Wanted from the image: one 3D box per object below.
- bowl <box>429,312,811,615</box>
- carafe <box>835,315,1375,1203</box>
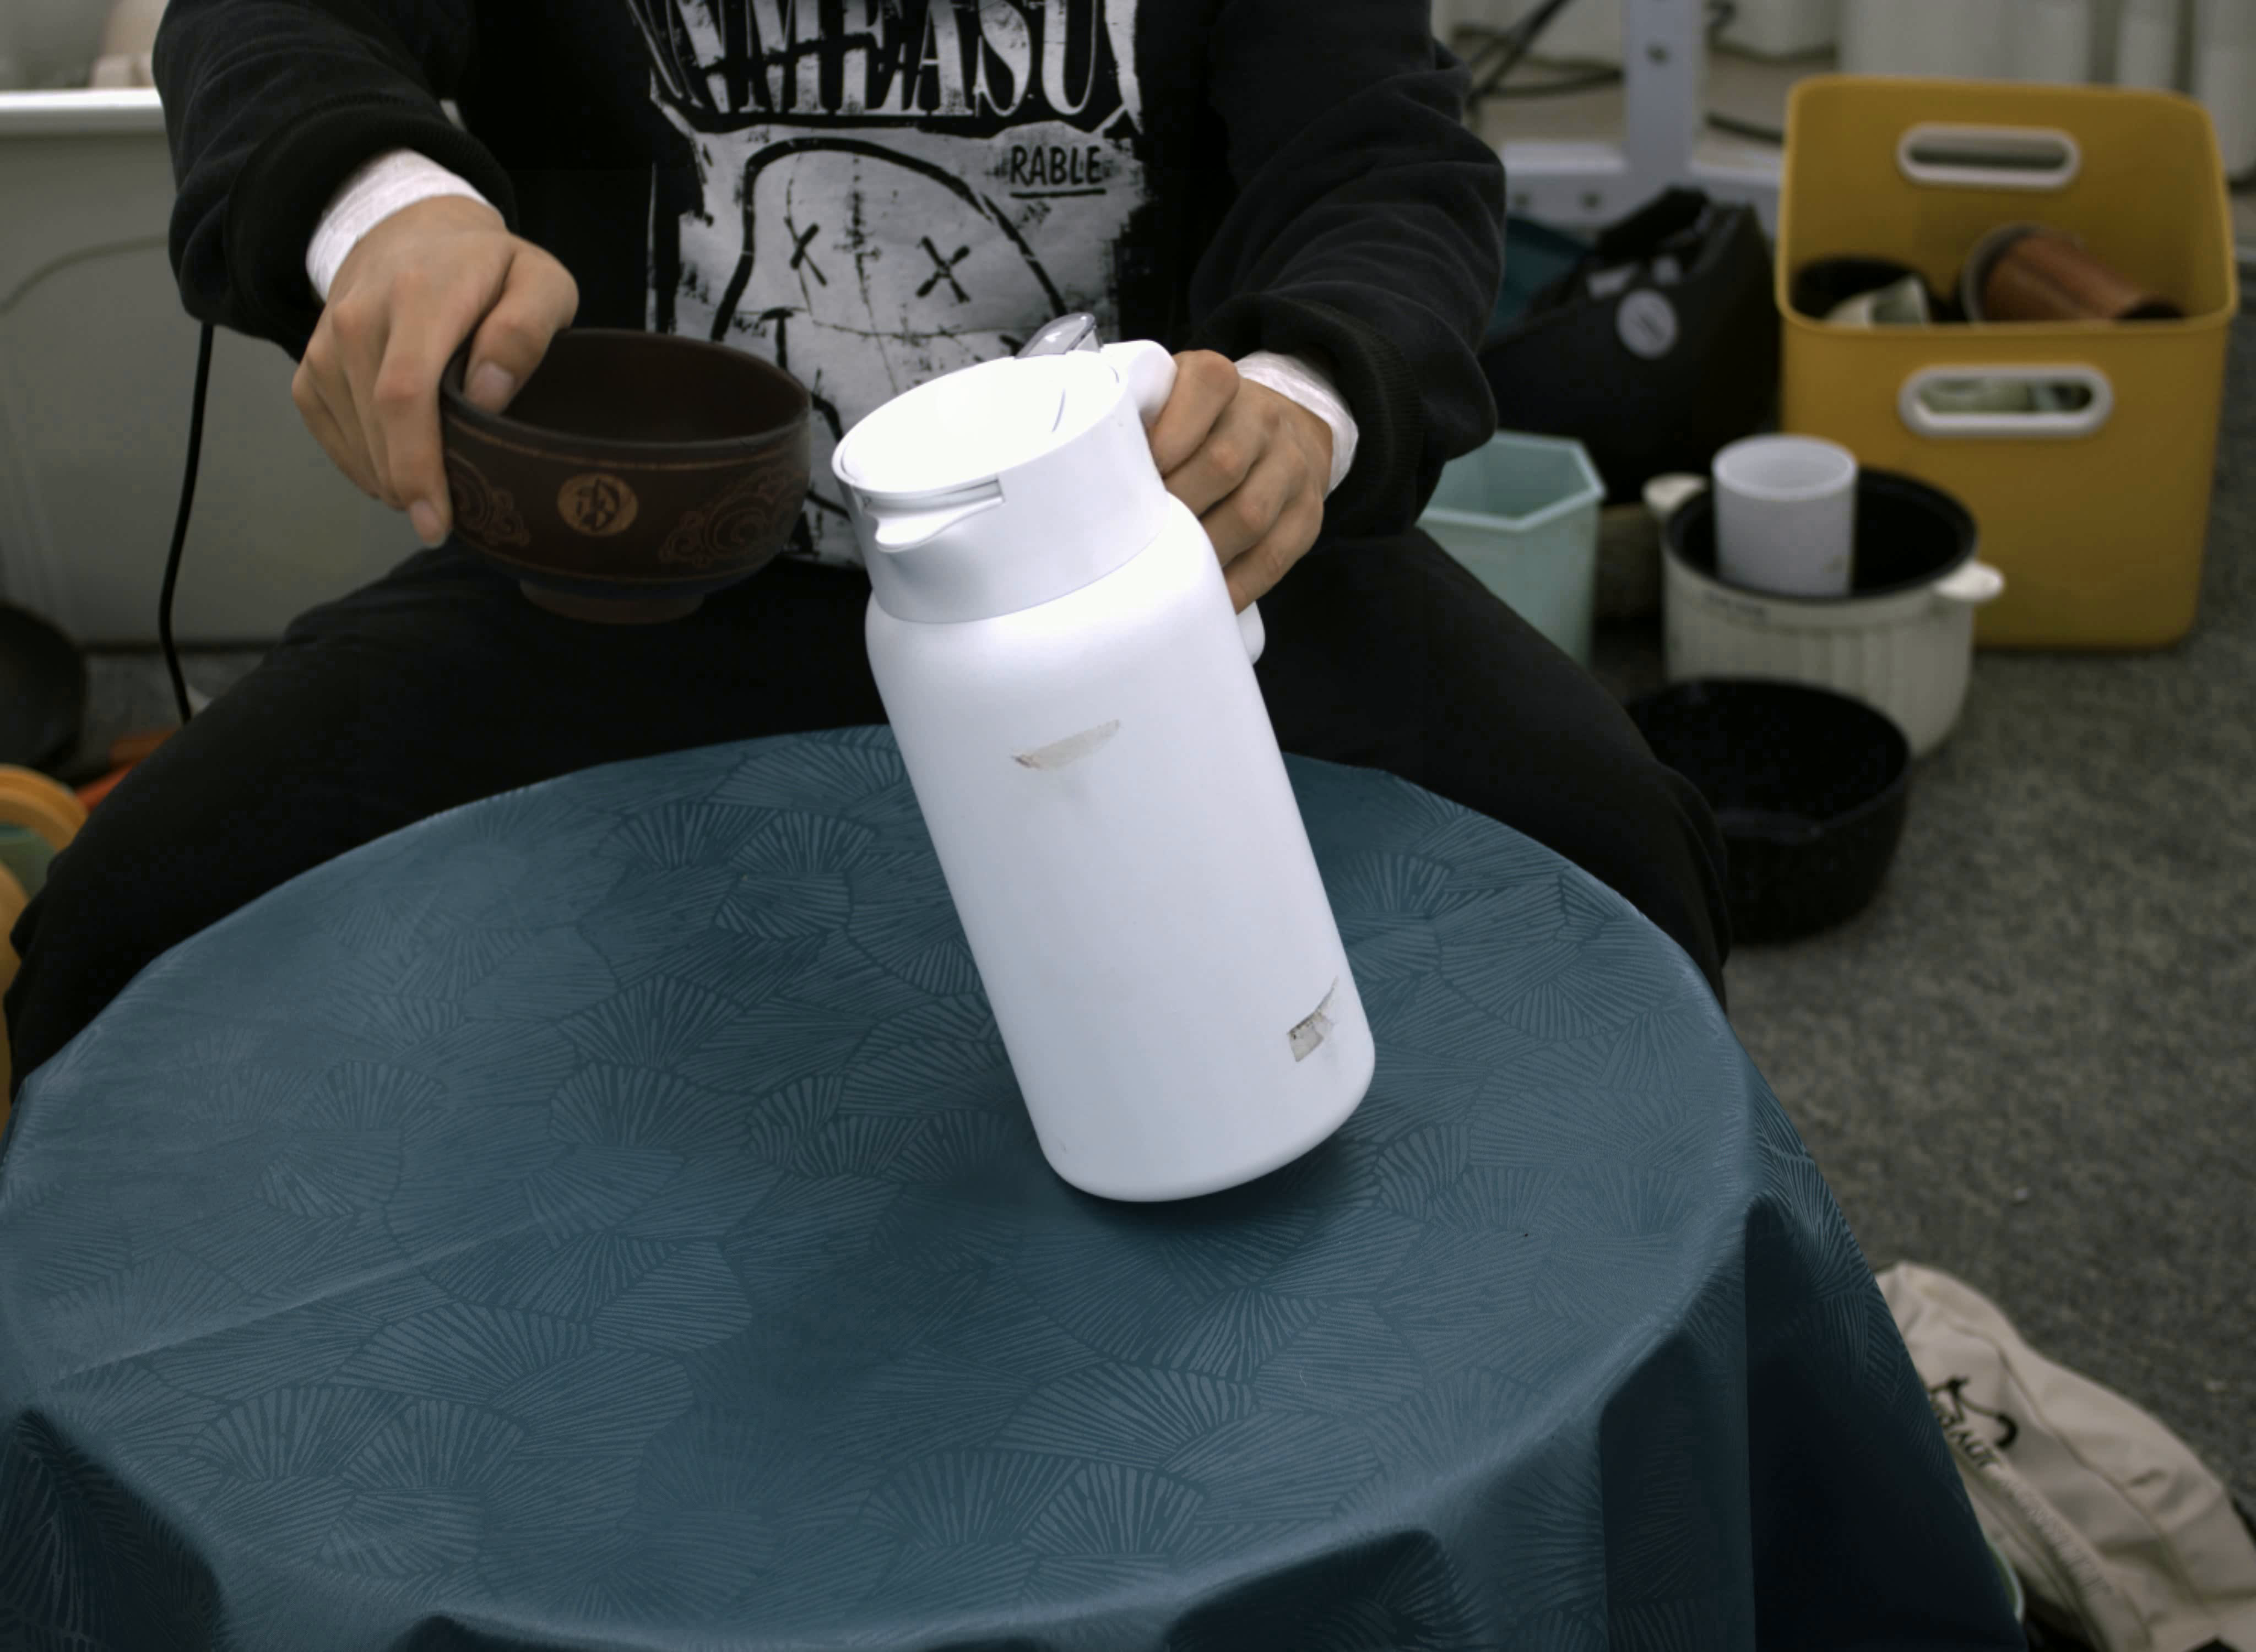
[{"bbox_3d":[-0.158,-0.108,1.746,0.117,0.069,0.119,6,23,-2],"label":"bowl"},{"bbox_3d":[-0.003,-0.025,1.840,0.122,0.267,0.176,-7,26,29],"label":"carafe"}]
